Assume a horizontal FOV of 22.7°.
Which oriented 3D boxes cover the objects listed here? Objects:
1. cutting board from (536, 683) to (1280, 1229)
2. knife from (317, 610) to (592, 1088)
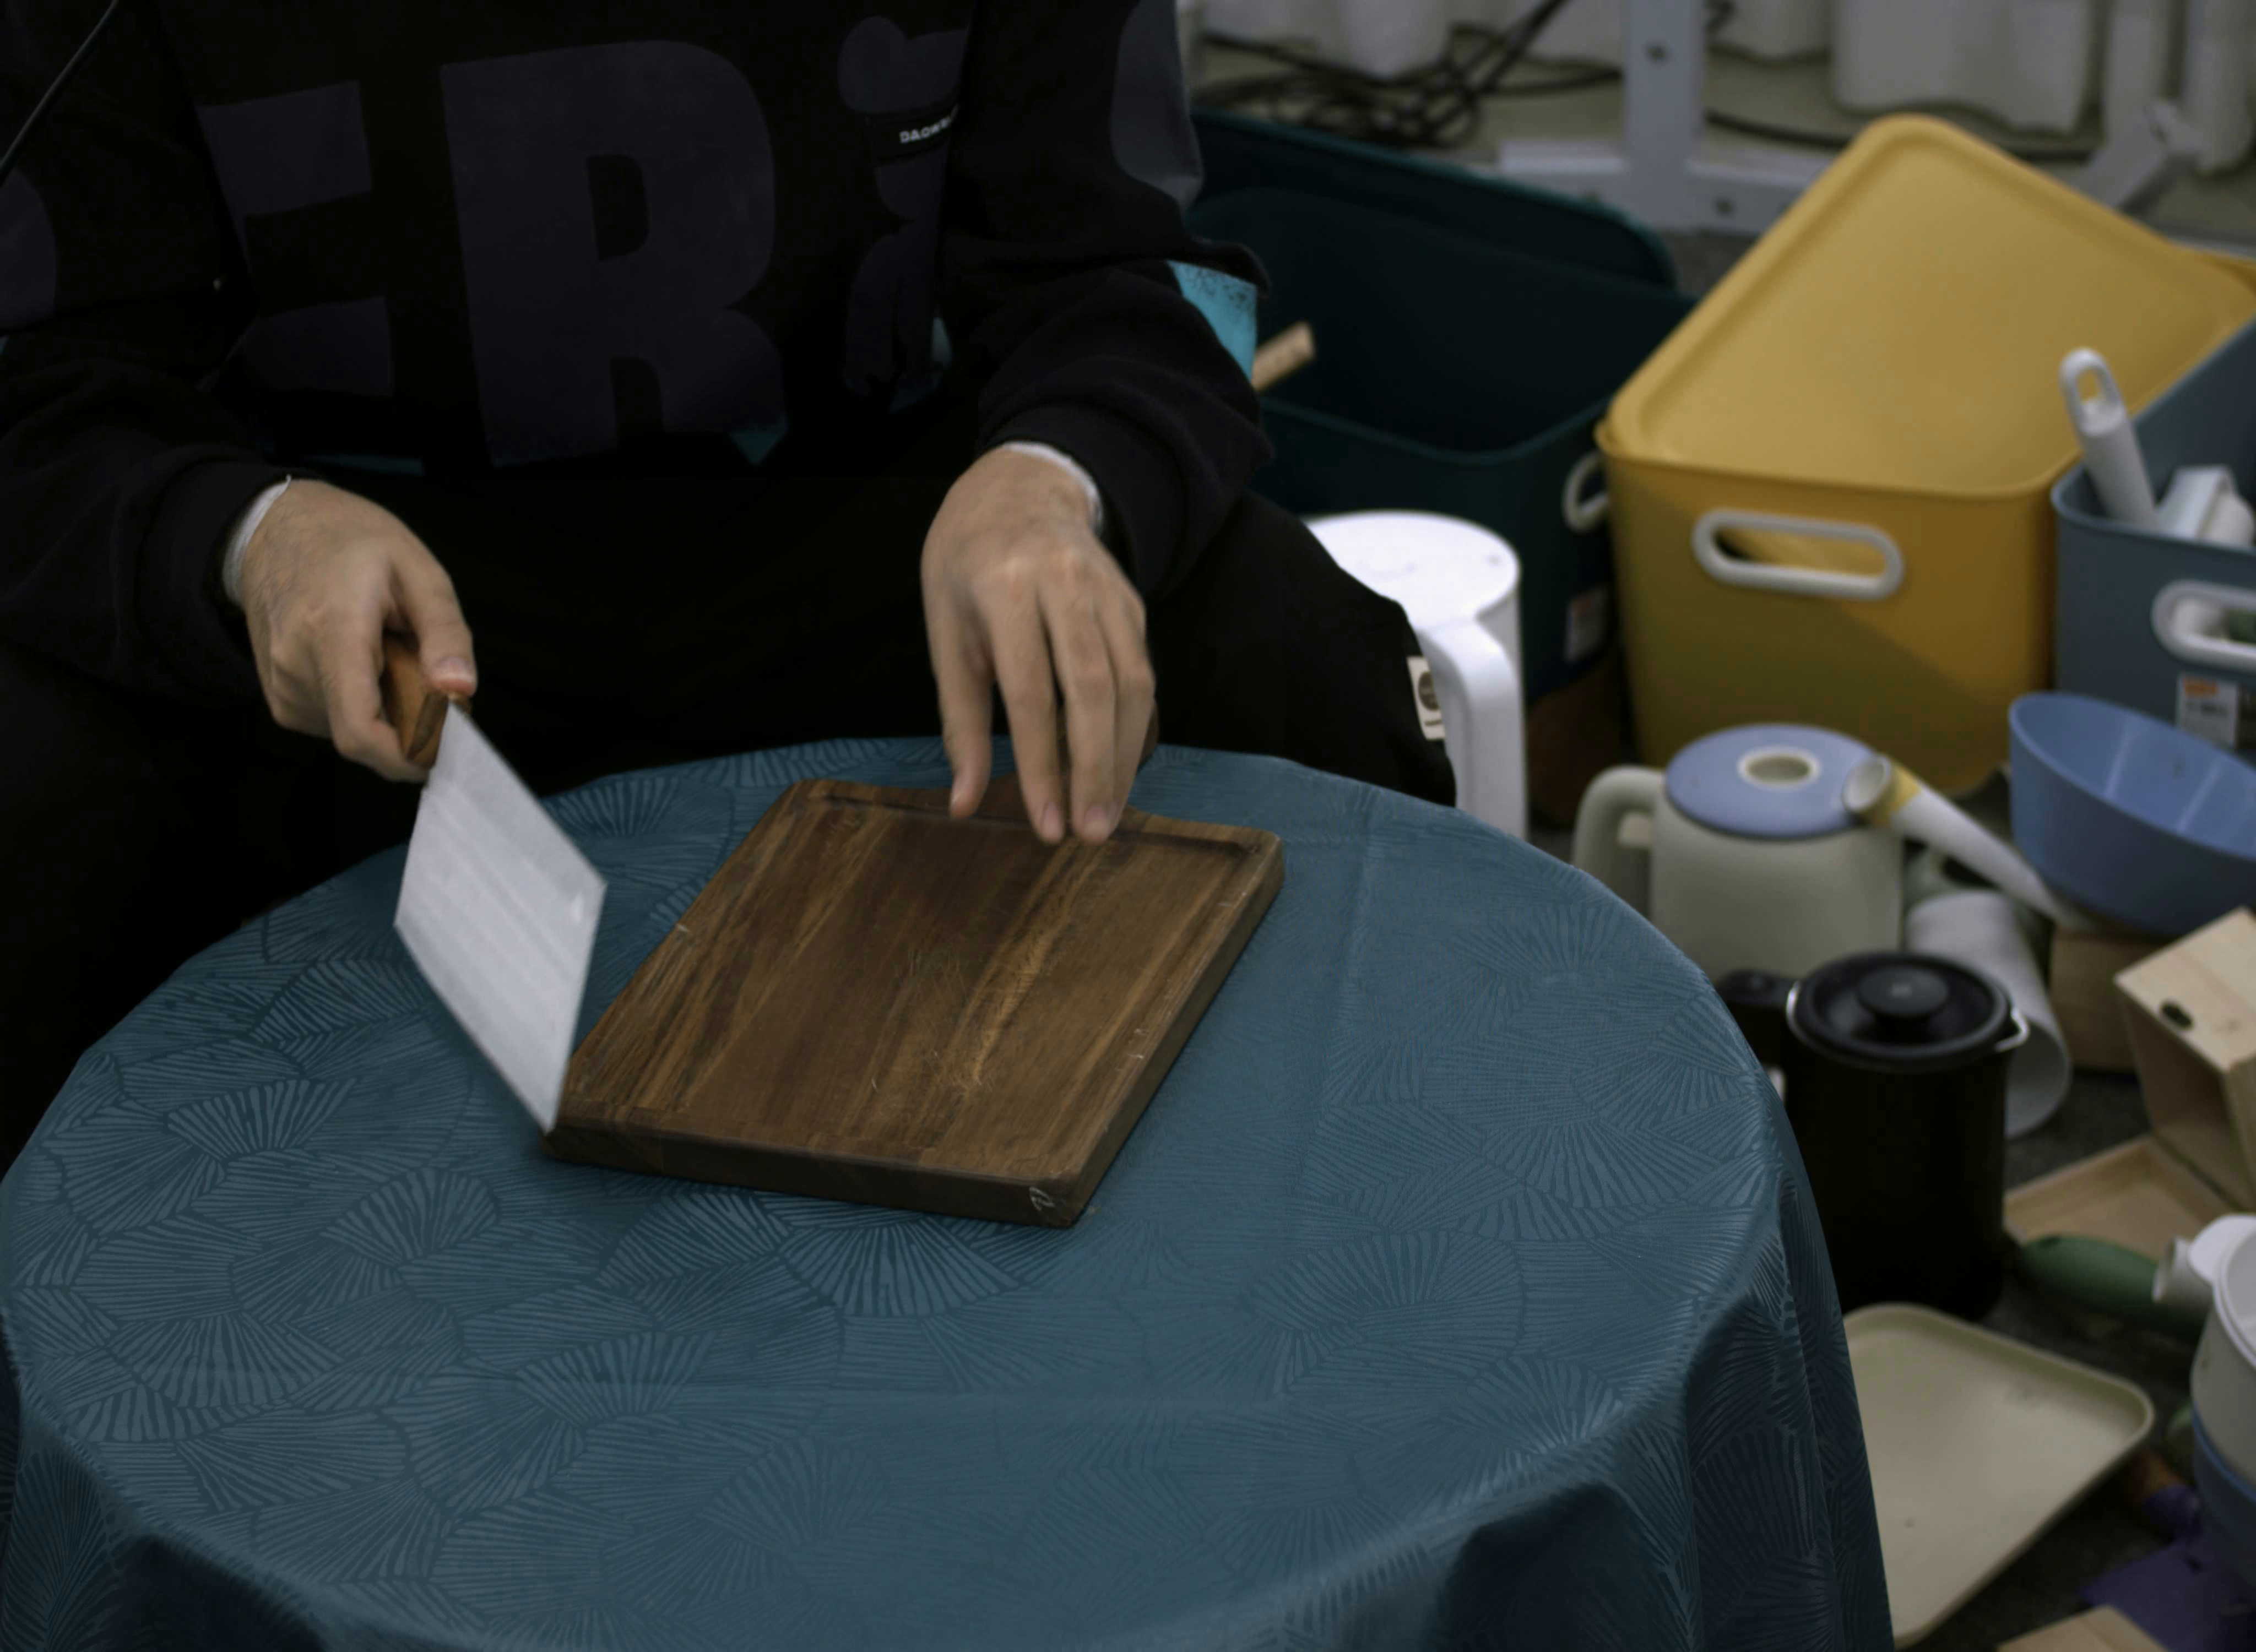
[{"bbox_3d":[-0.058,0.035,2.010,0.199,0.023,0.358,6,29,16],"label":"cutting board"},{"bbox_3d":[-0.237,0.008,1.941,0.021,0.092,0.307,7,17,-25],"label":"knife"}]
